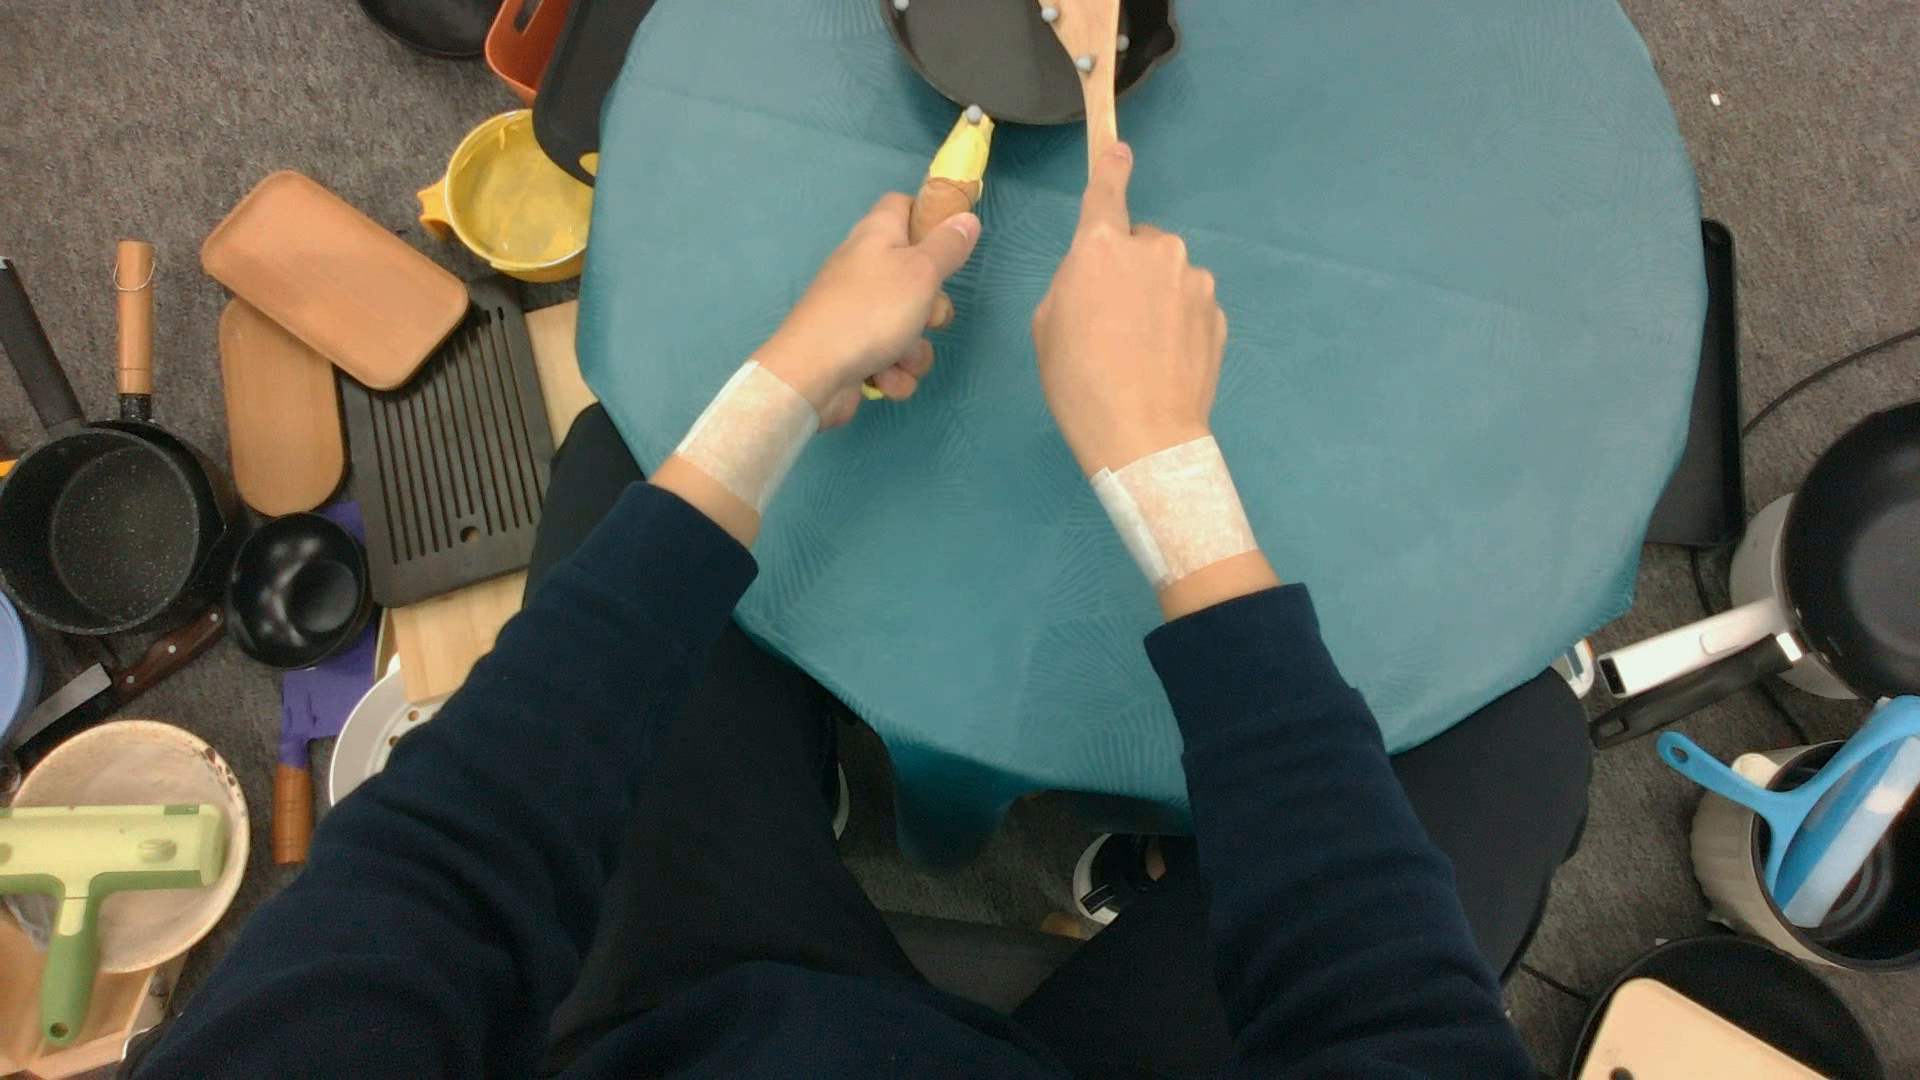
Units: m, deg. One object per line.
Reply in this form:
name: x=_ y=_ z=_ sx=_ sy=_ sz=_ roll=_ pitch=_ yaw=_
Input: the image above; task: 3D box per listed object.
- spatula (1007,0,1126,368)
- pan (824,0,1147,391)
spatula: x=0.048 y=-0.224 z=0.671 sx=0.016 sy=0.079 sz=0.329 roll=13 pitch=59 yaw=-31
pan: x=-0.010 y=-0.214 z=0.700 sx=0.169 sy=0.049 sz=0.325 roll=20 pitch=71 yaw=-2
